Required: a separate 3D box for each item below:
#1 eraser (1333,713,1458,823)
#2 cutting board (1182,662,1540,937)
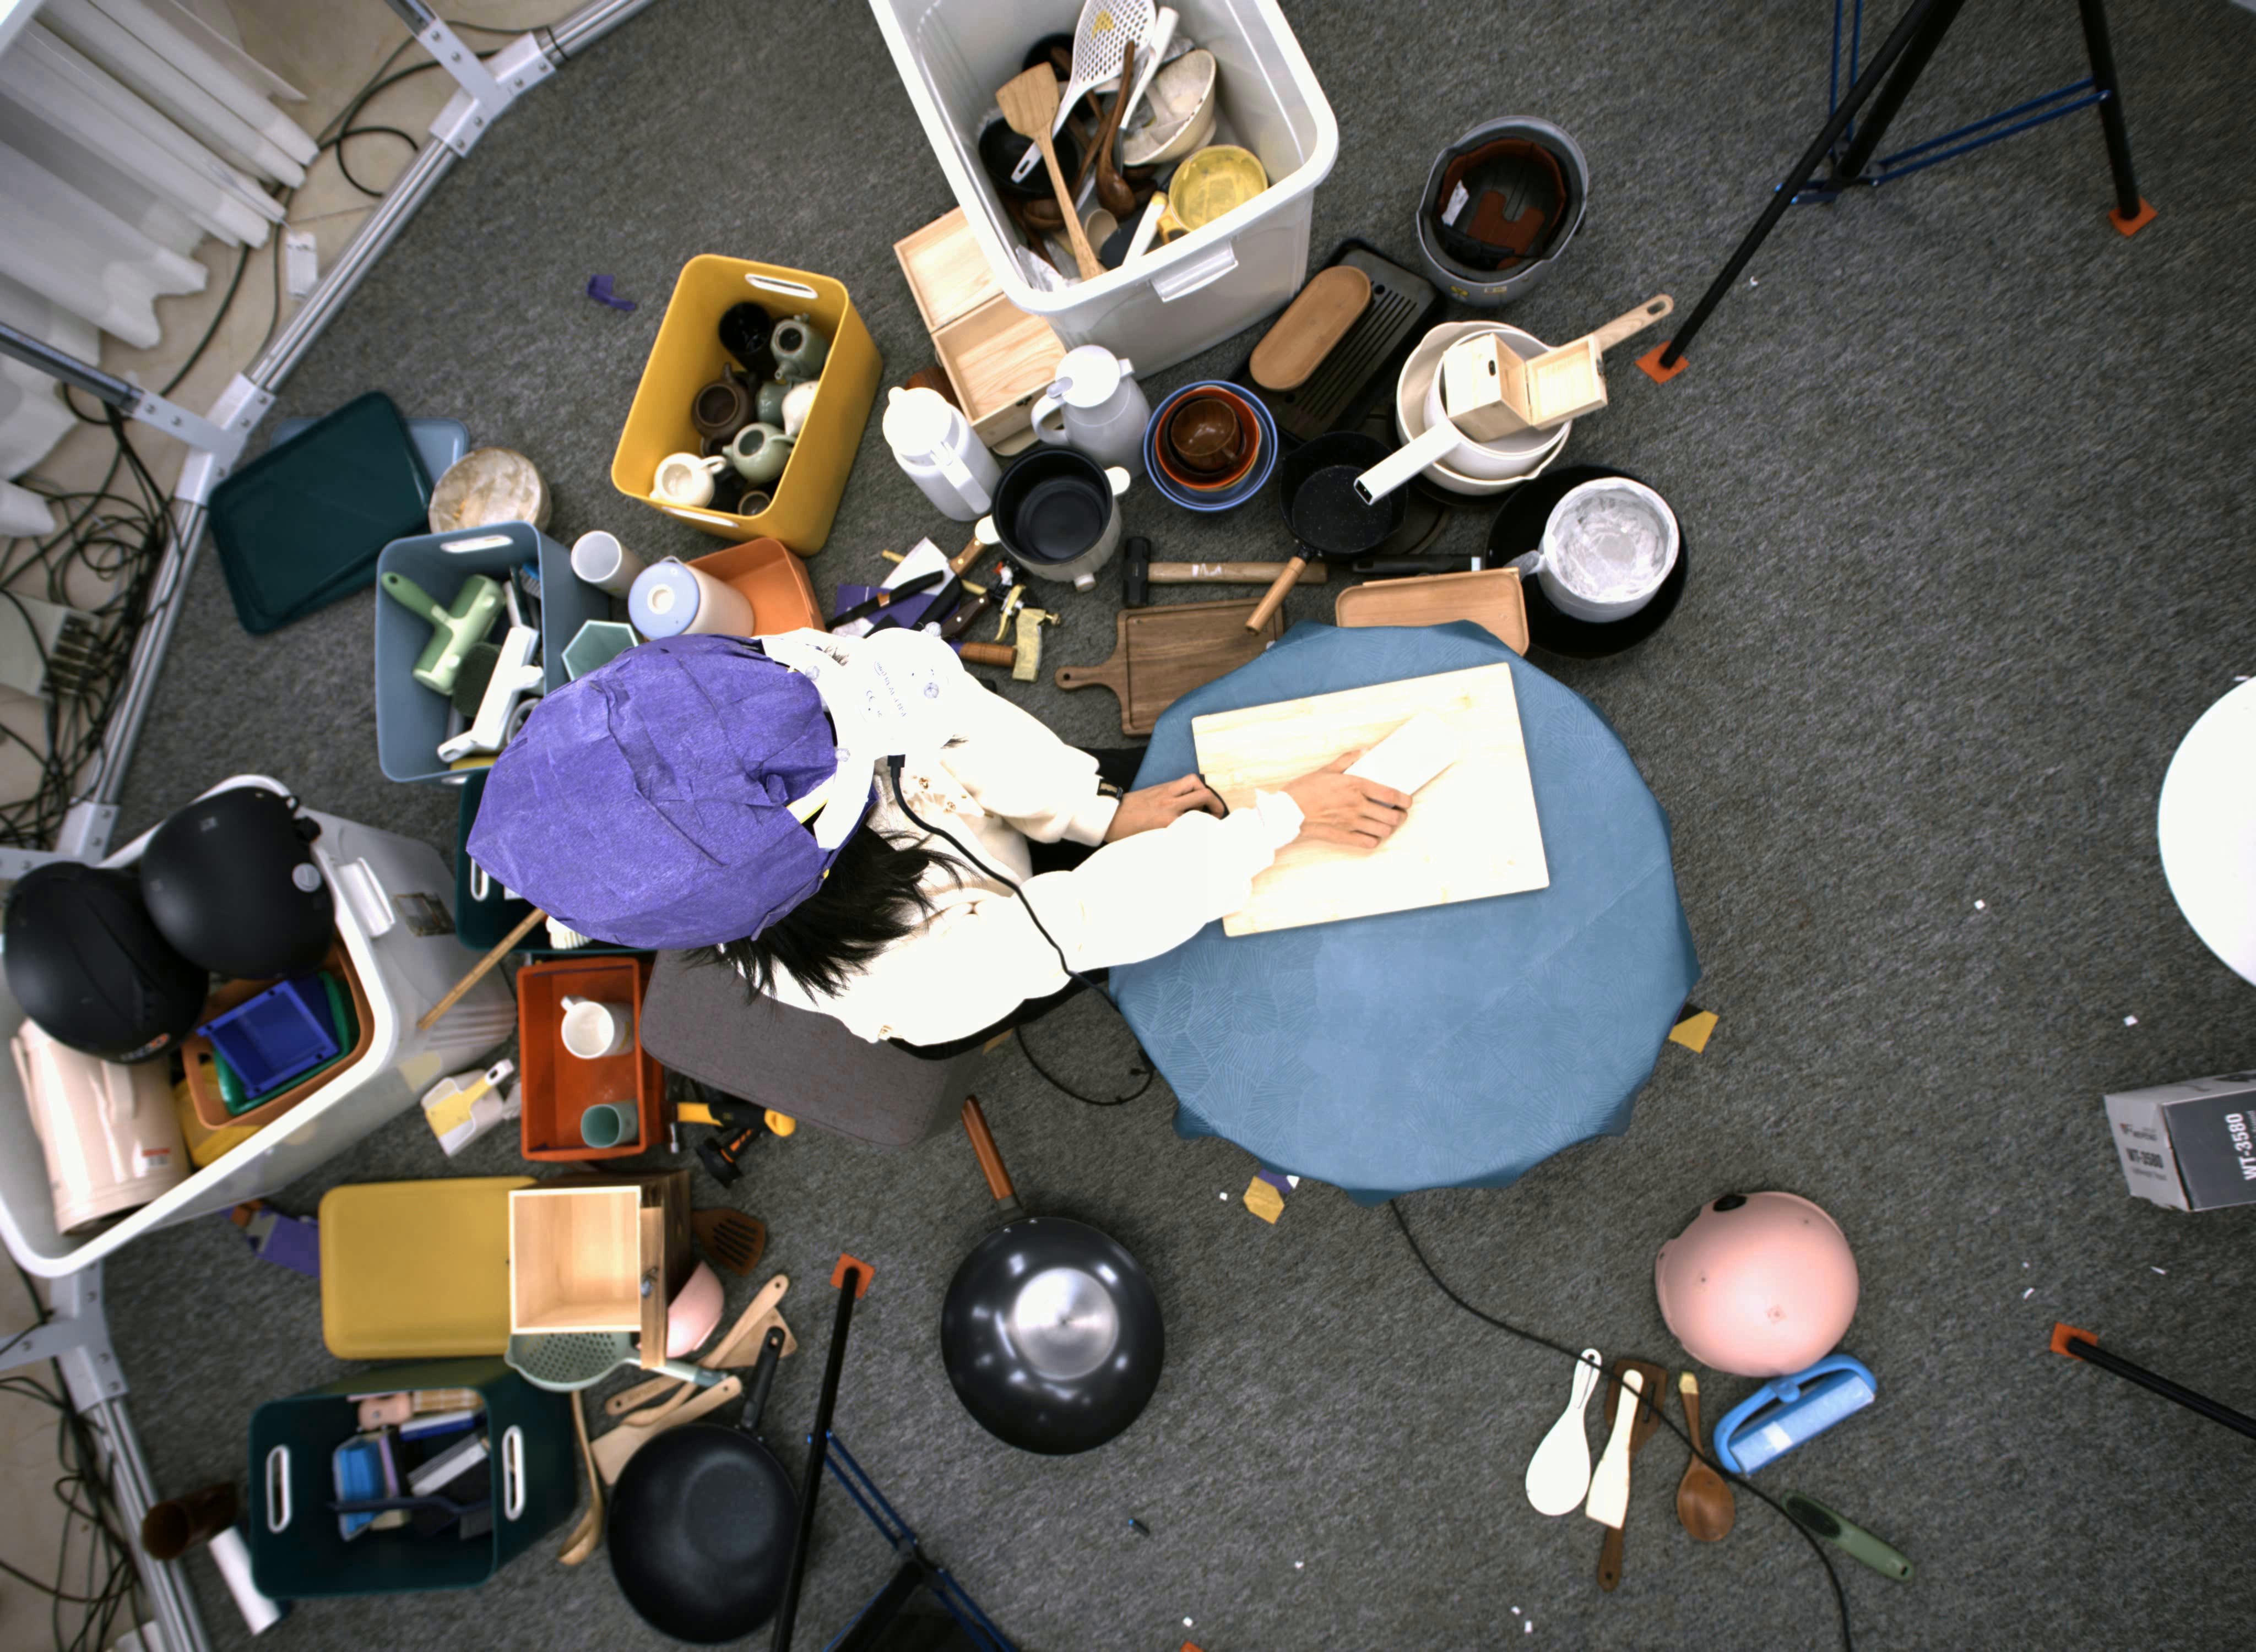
[{"bbox_3d":[0.277,-0.062,1.433,0.132,0.034,0.063,-36,81,6],"label":"eraser"},{"bbox_3d":[0.246,-0.028,1.462,0.350,0.023,0.249,-11,85,10],"label":"cutting board"}]
